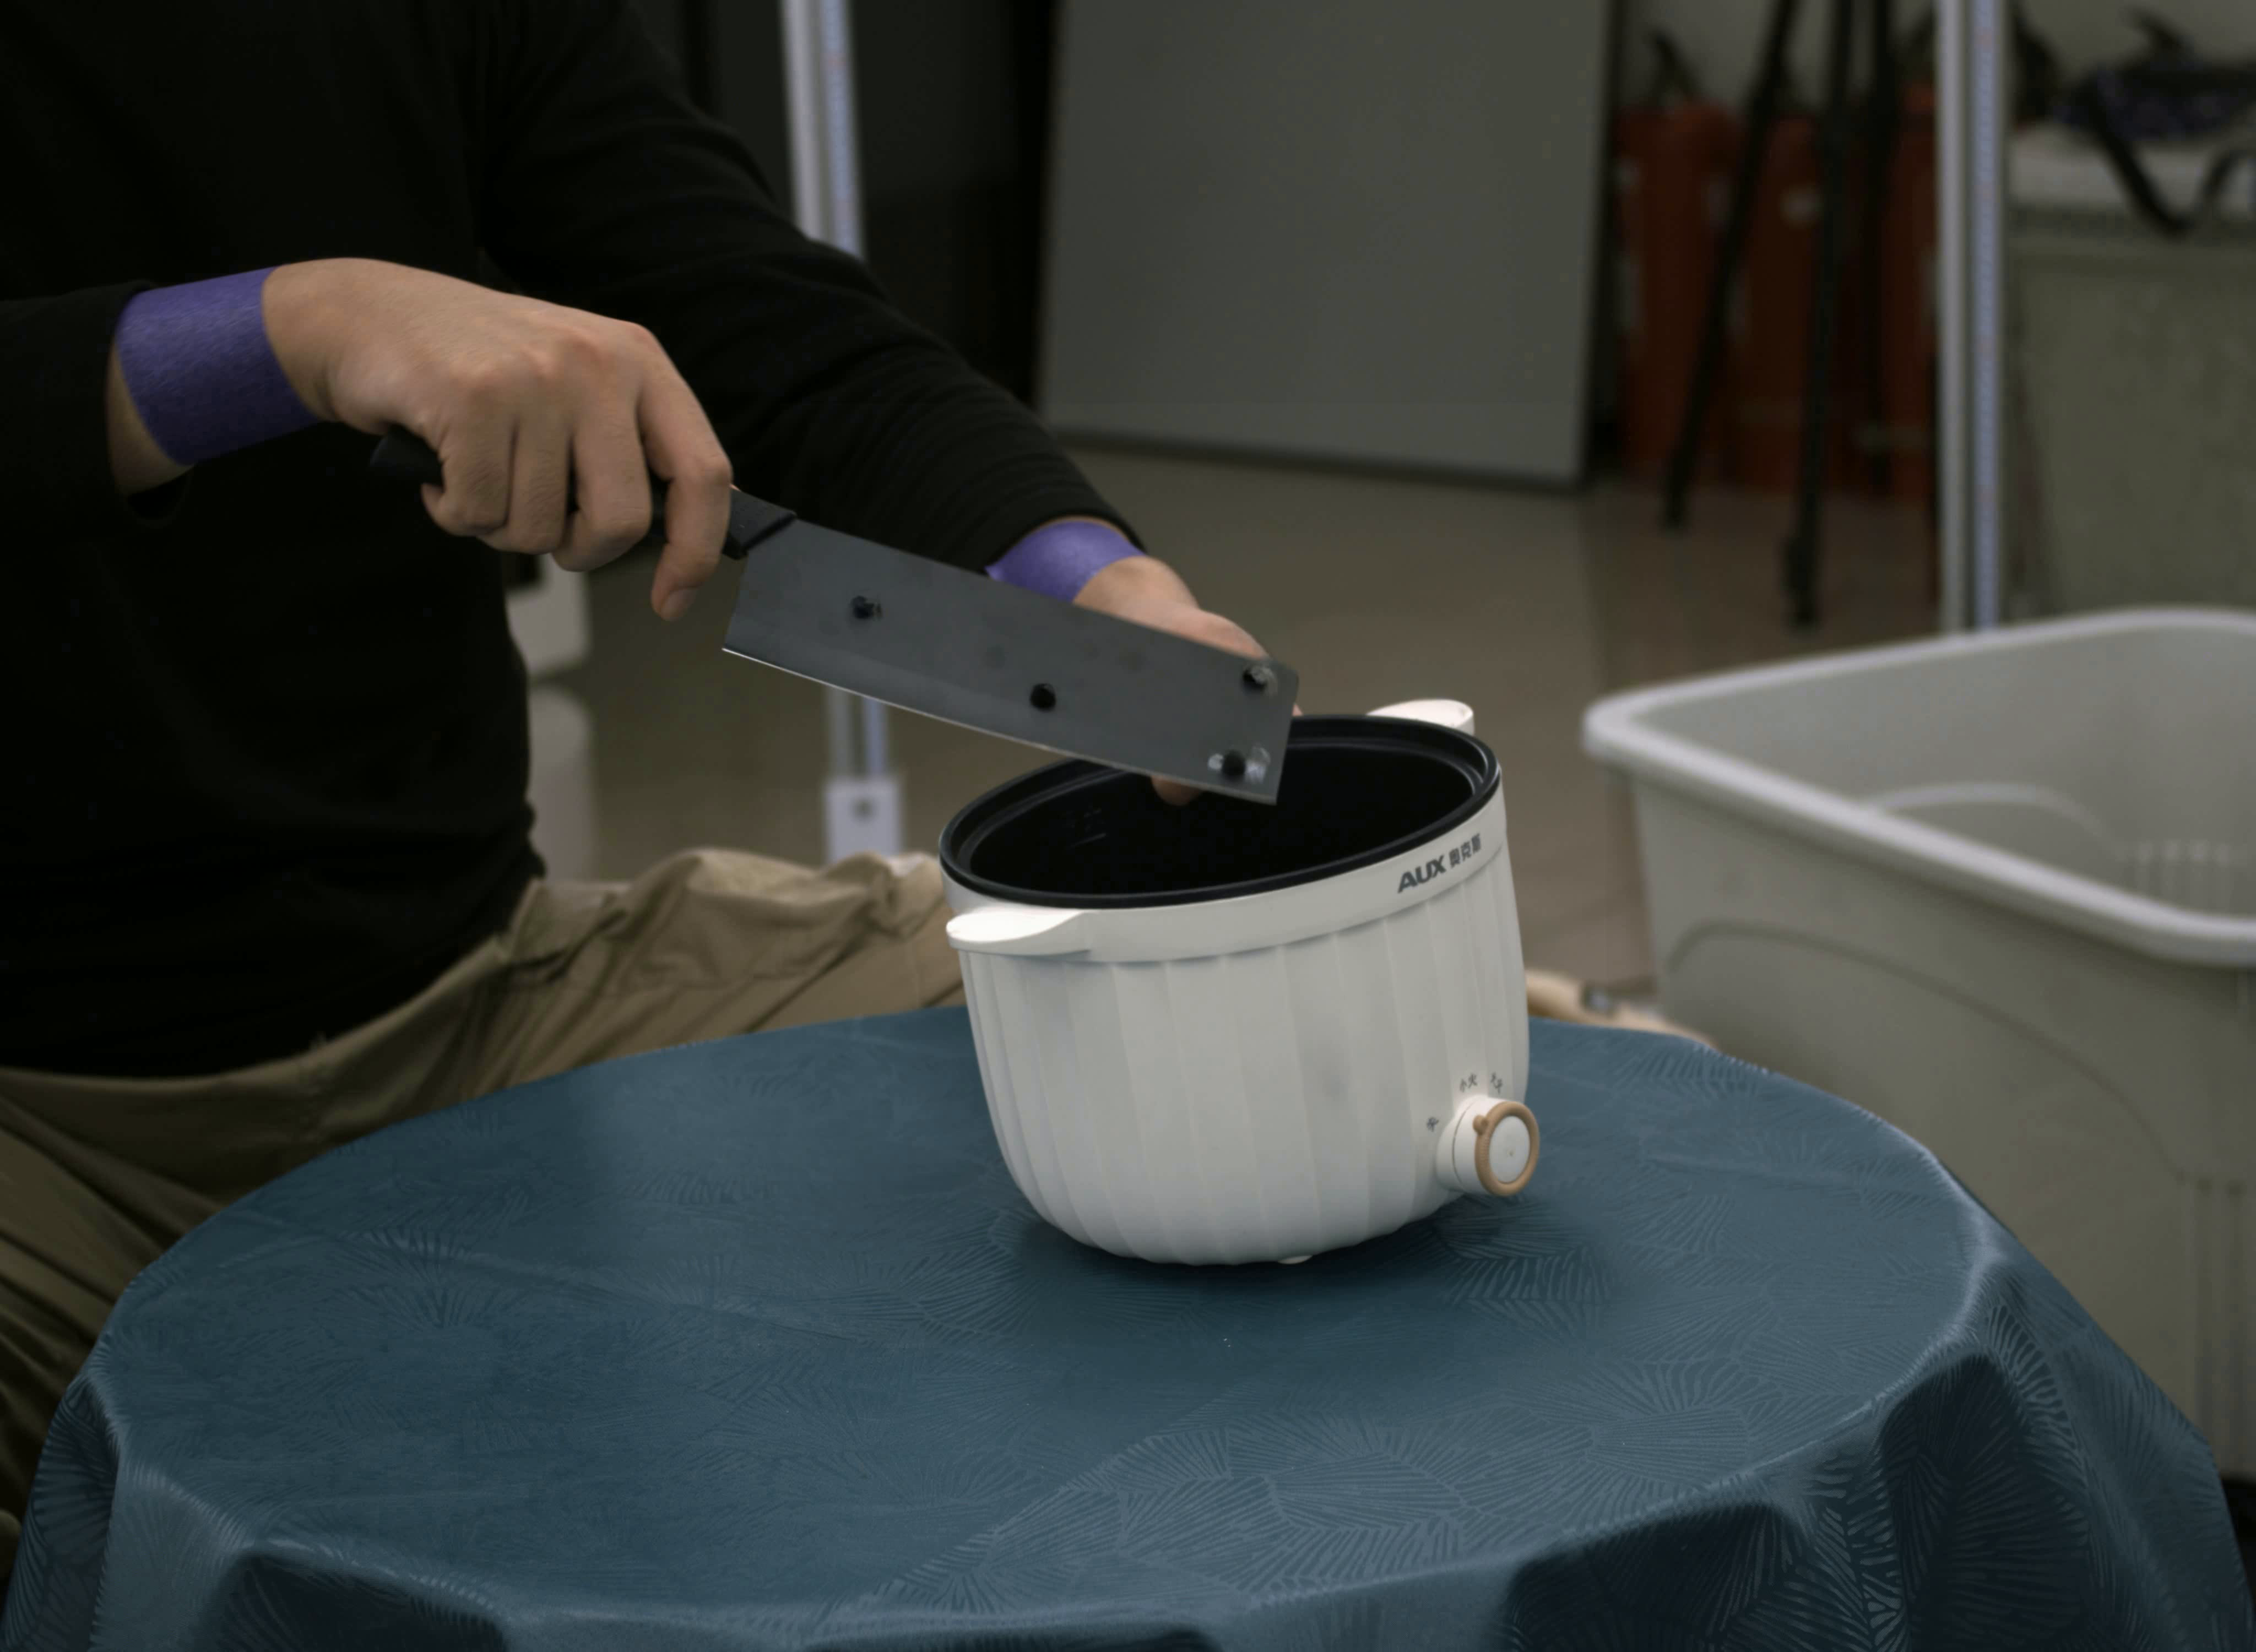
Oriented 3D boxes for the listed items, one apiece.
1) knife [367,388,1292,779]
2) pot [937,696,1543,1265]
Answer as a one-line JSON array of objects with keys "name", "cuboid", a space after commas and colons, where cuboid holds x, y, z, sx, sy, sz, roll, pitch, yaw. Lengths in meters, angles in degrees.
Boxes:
[{"name": "knife", "cuboid": [-0.092, -0.077, 1.692, 0.299, 0.021, 0.081, 19, 46, 1]}, {"name": "pot", "cuboid": [0.043, 0.054, 1.719, 0.192, 0.144, 0.236, 1, 20, 43]}]
